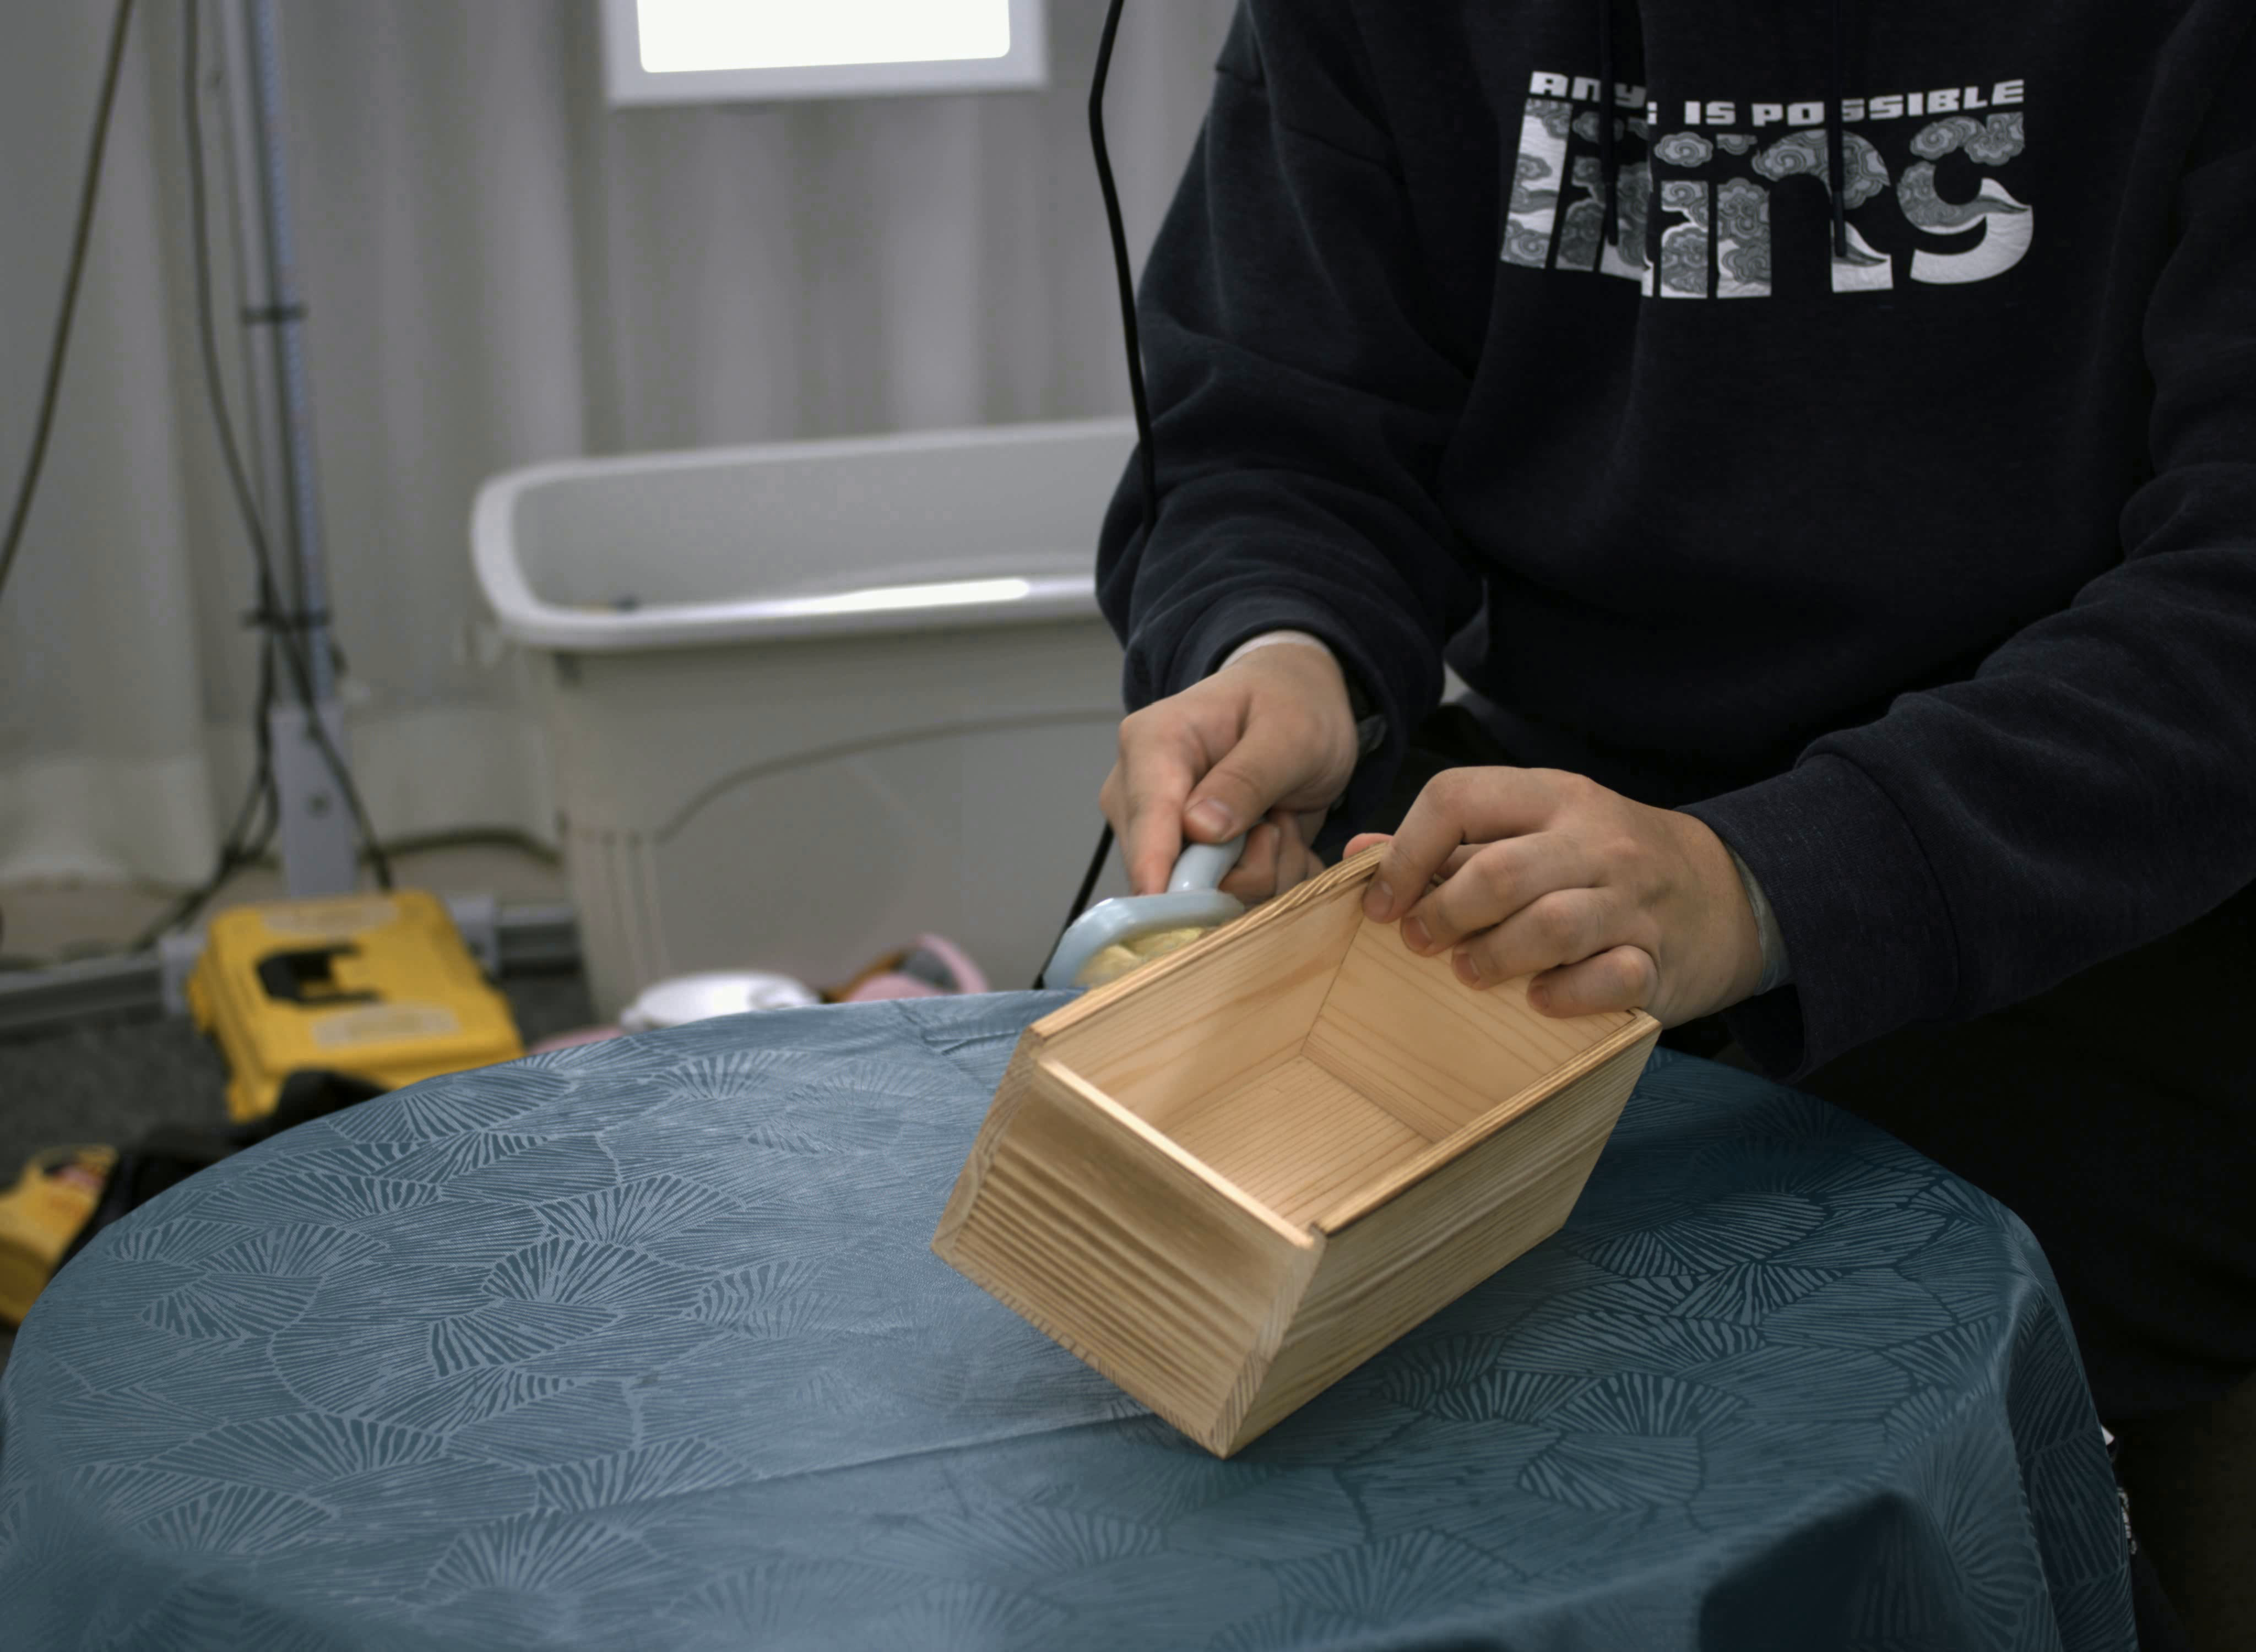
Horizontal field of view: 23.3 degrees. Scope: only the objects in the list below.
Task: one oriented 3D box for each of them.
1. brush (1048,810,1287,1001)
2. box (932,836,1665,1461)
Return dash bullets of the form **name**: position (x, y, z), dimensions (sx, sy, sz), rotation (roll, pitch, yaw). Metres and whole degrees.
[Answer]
- **brush**: position (0.024, 0.026, 1.686), dimensions (0.050, 0.037, 0.229), rotation (34, 14, 6)
- **box**: position (0.052, 0.088, 1.578), dimensions (0.108, 0.079, 0.211), rotation (33, 29, 19)
